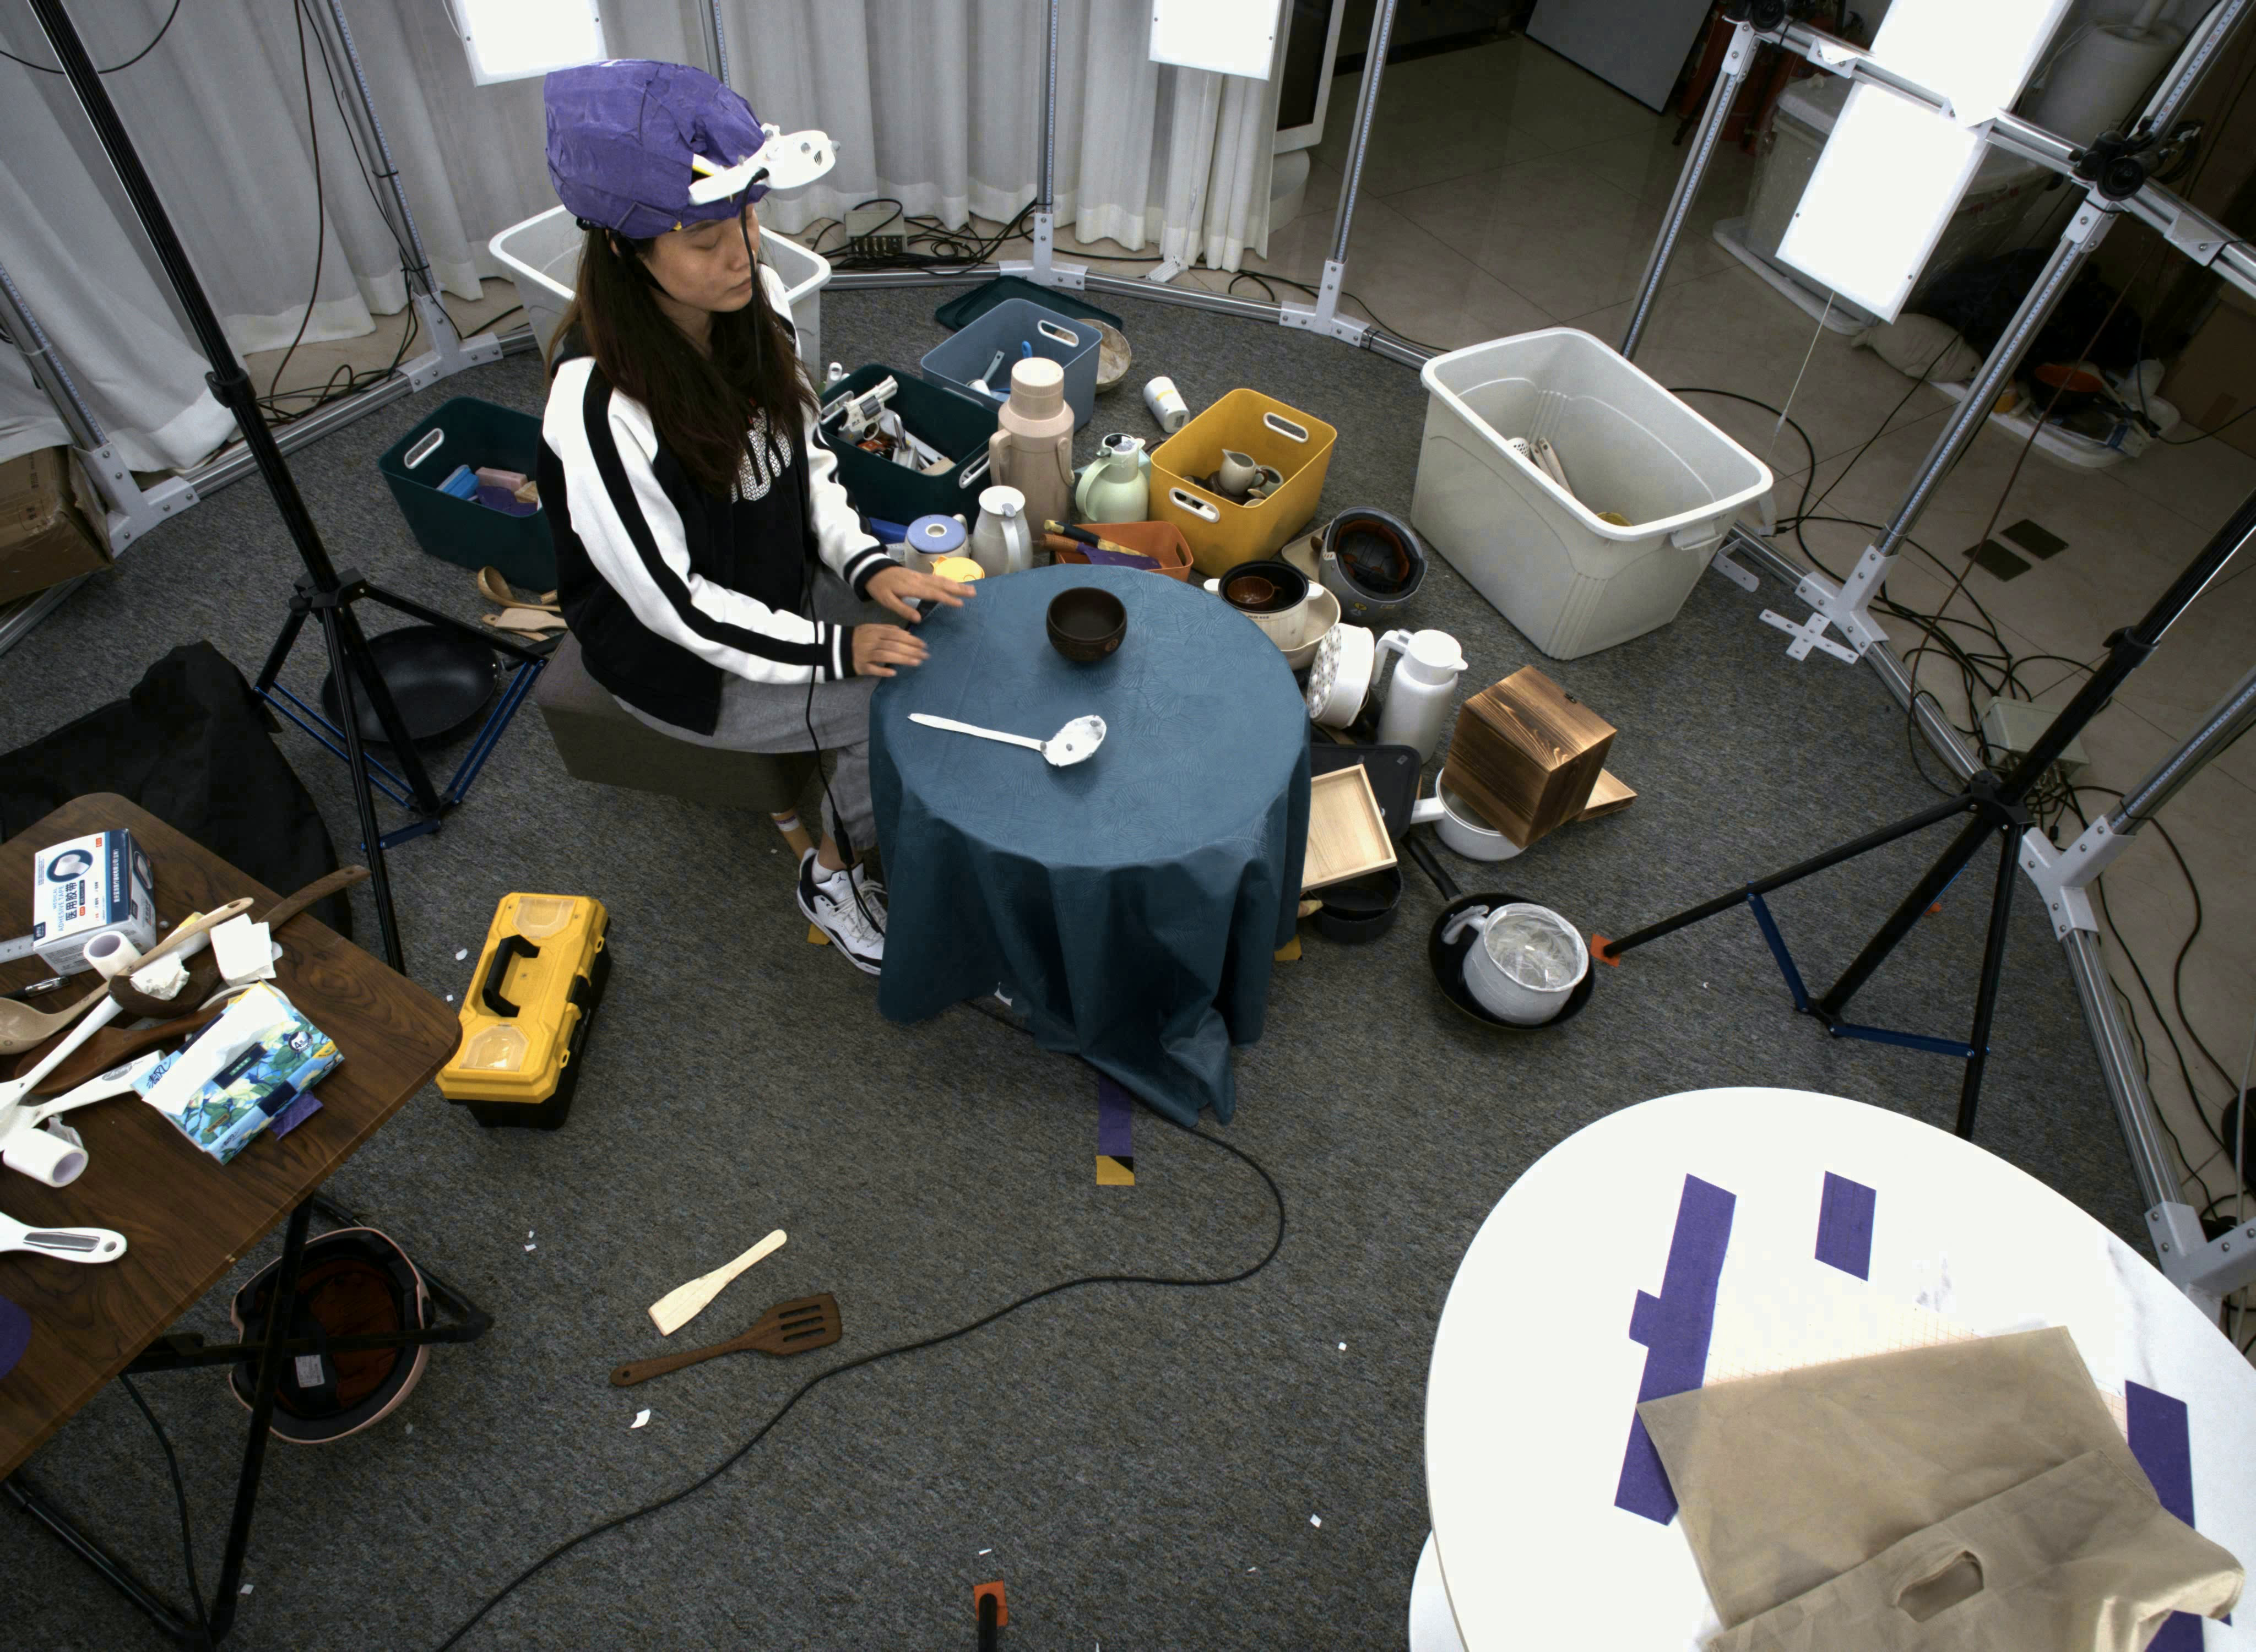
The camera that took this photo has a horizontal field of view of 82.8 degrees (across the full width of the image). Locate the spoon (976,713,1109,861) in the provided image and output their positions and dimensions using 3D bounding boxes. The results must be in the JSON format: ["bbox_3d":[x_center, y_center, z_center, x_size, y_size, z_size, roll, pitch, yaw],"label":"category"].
[{"bbox_3d":[-0.120,-0.046,1.773,0.059,0.274,0.103,26,22,-20],"label":"spoon"}]

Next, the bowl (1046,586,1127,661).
[{"bbox_3d":[-0.061,-0.285,1.866,0.118,0.068,0.121,2,49,-3],"label":"bowl"}]
